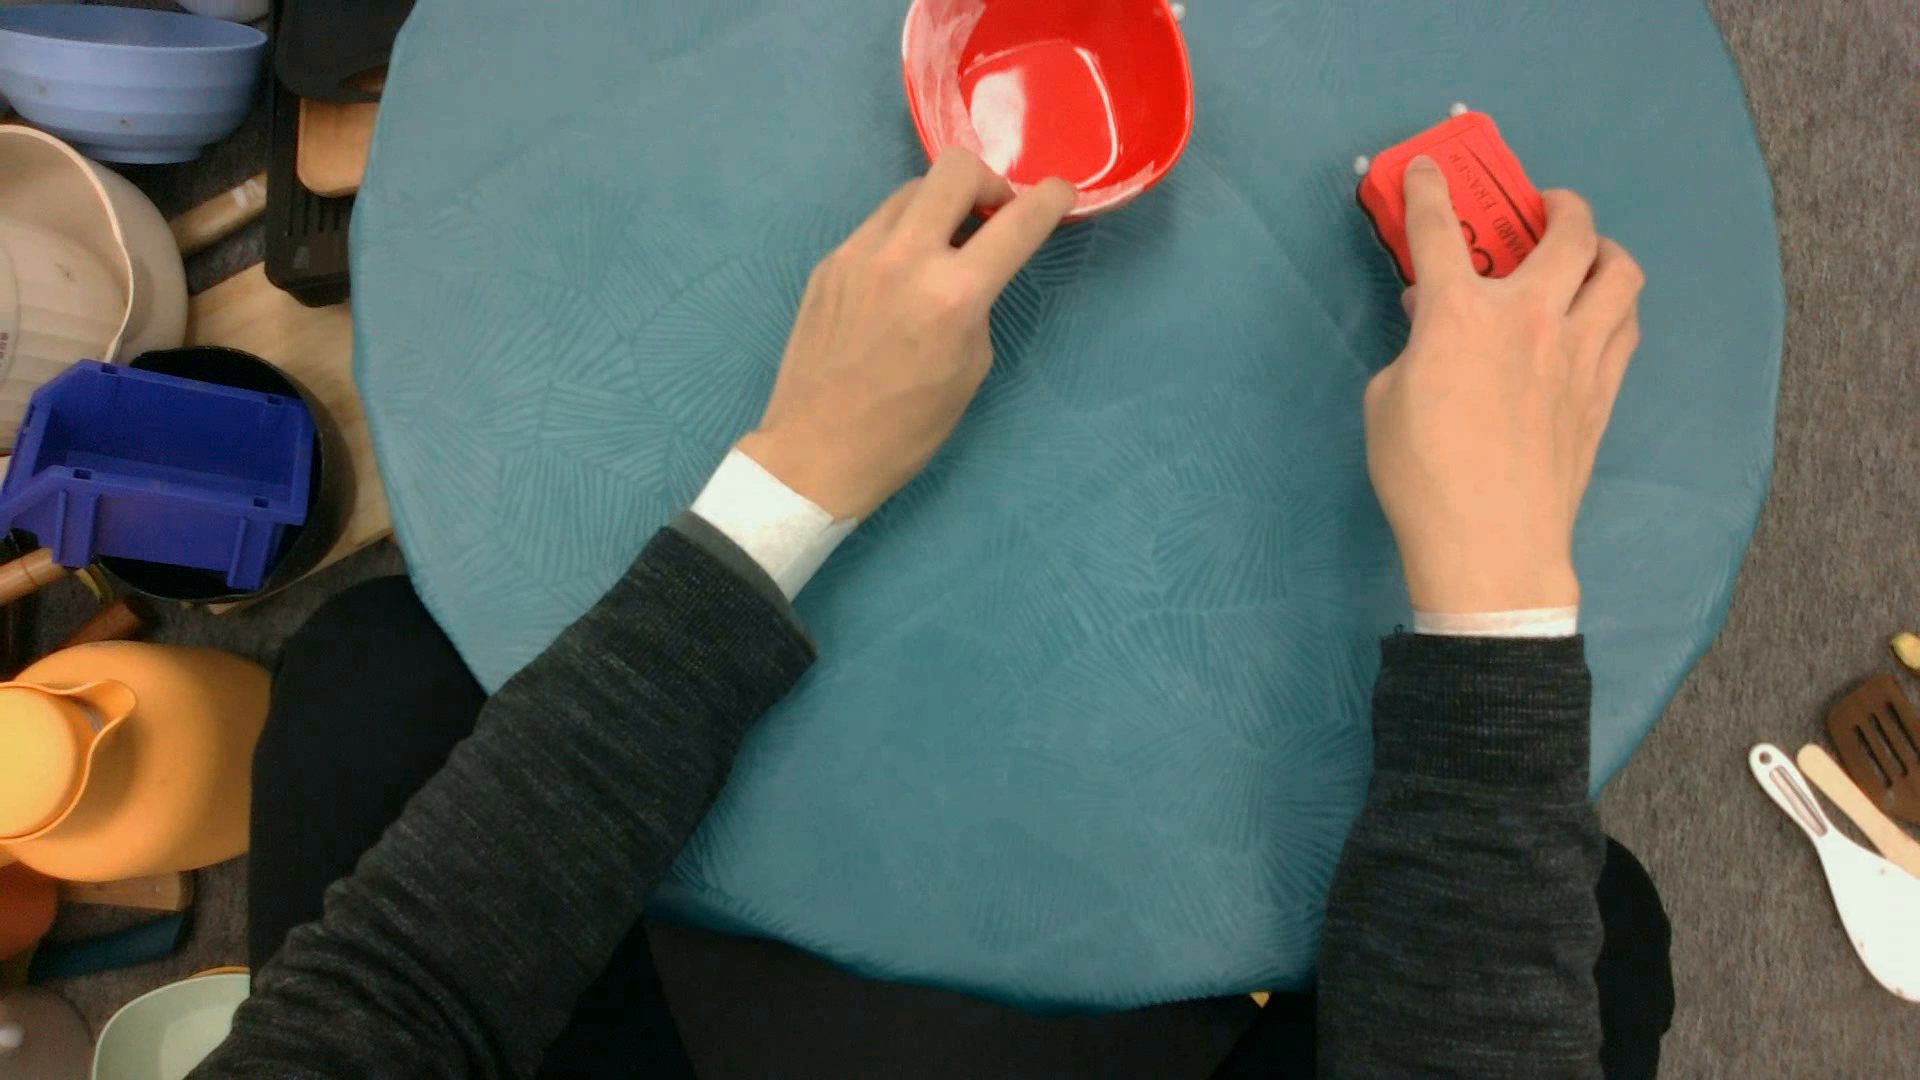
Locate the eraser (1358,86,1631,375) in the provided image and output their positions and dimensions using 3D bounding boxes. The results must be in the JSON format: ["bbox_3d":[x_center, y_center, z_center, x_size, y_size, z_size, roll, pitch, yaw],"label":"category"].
[{"bbox_3d":[0.214,-0.124,0.551,0.059,0.023,0.108,-39,90,-10],"label":"eraser"}]

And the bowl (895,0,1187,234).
[{"bbox_3d":[0.031,-0.174,0.562,0.119,0.051,0.119,0,82,-3],"label":"bowl"}]
